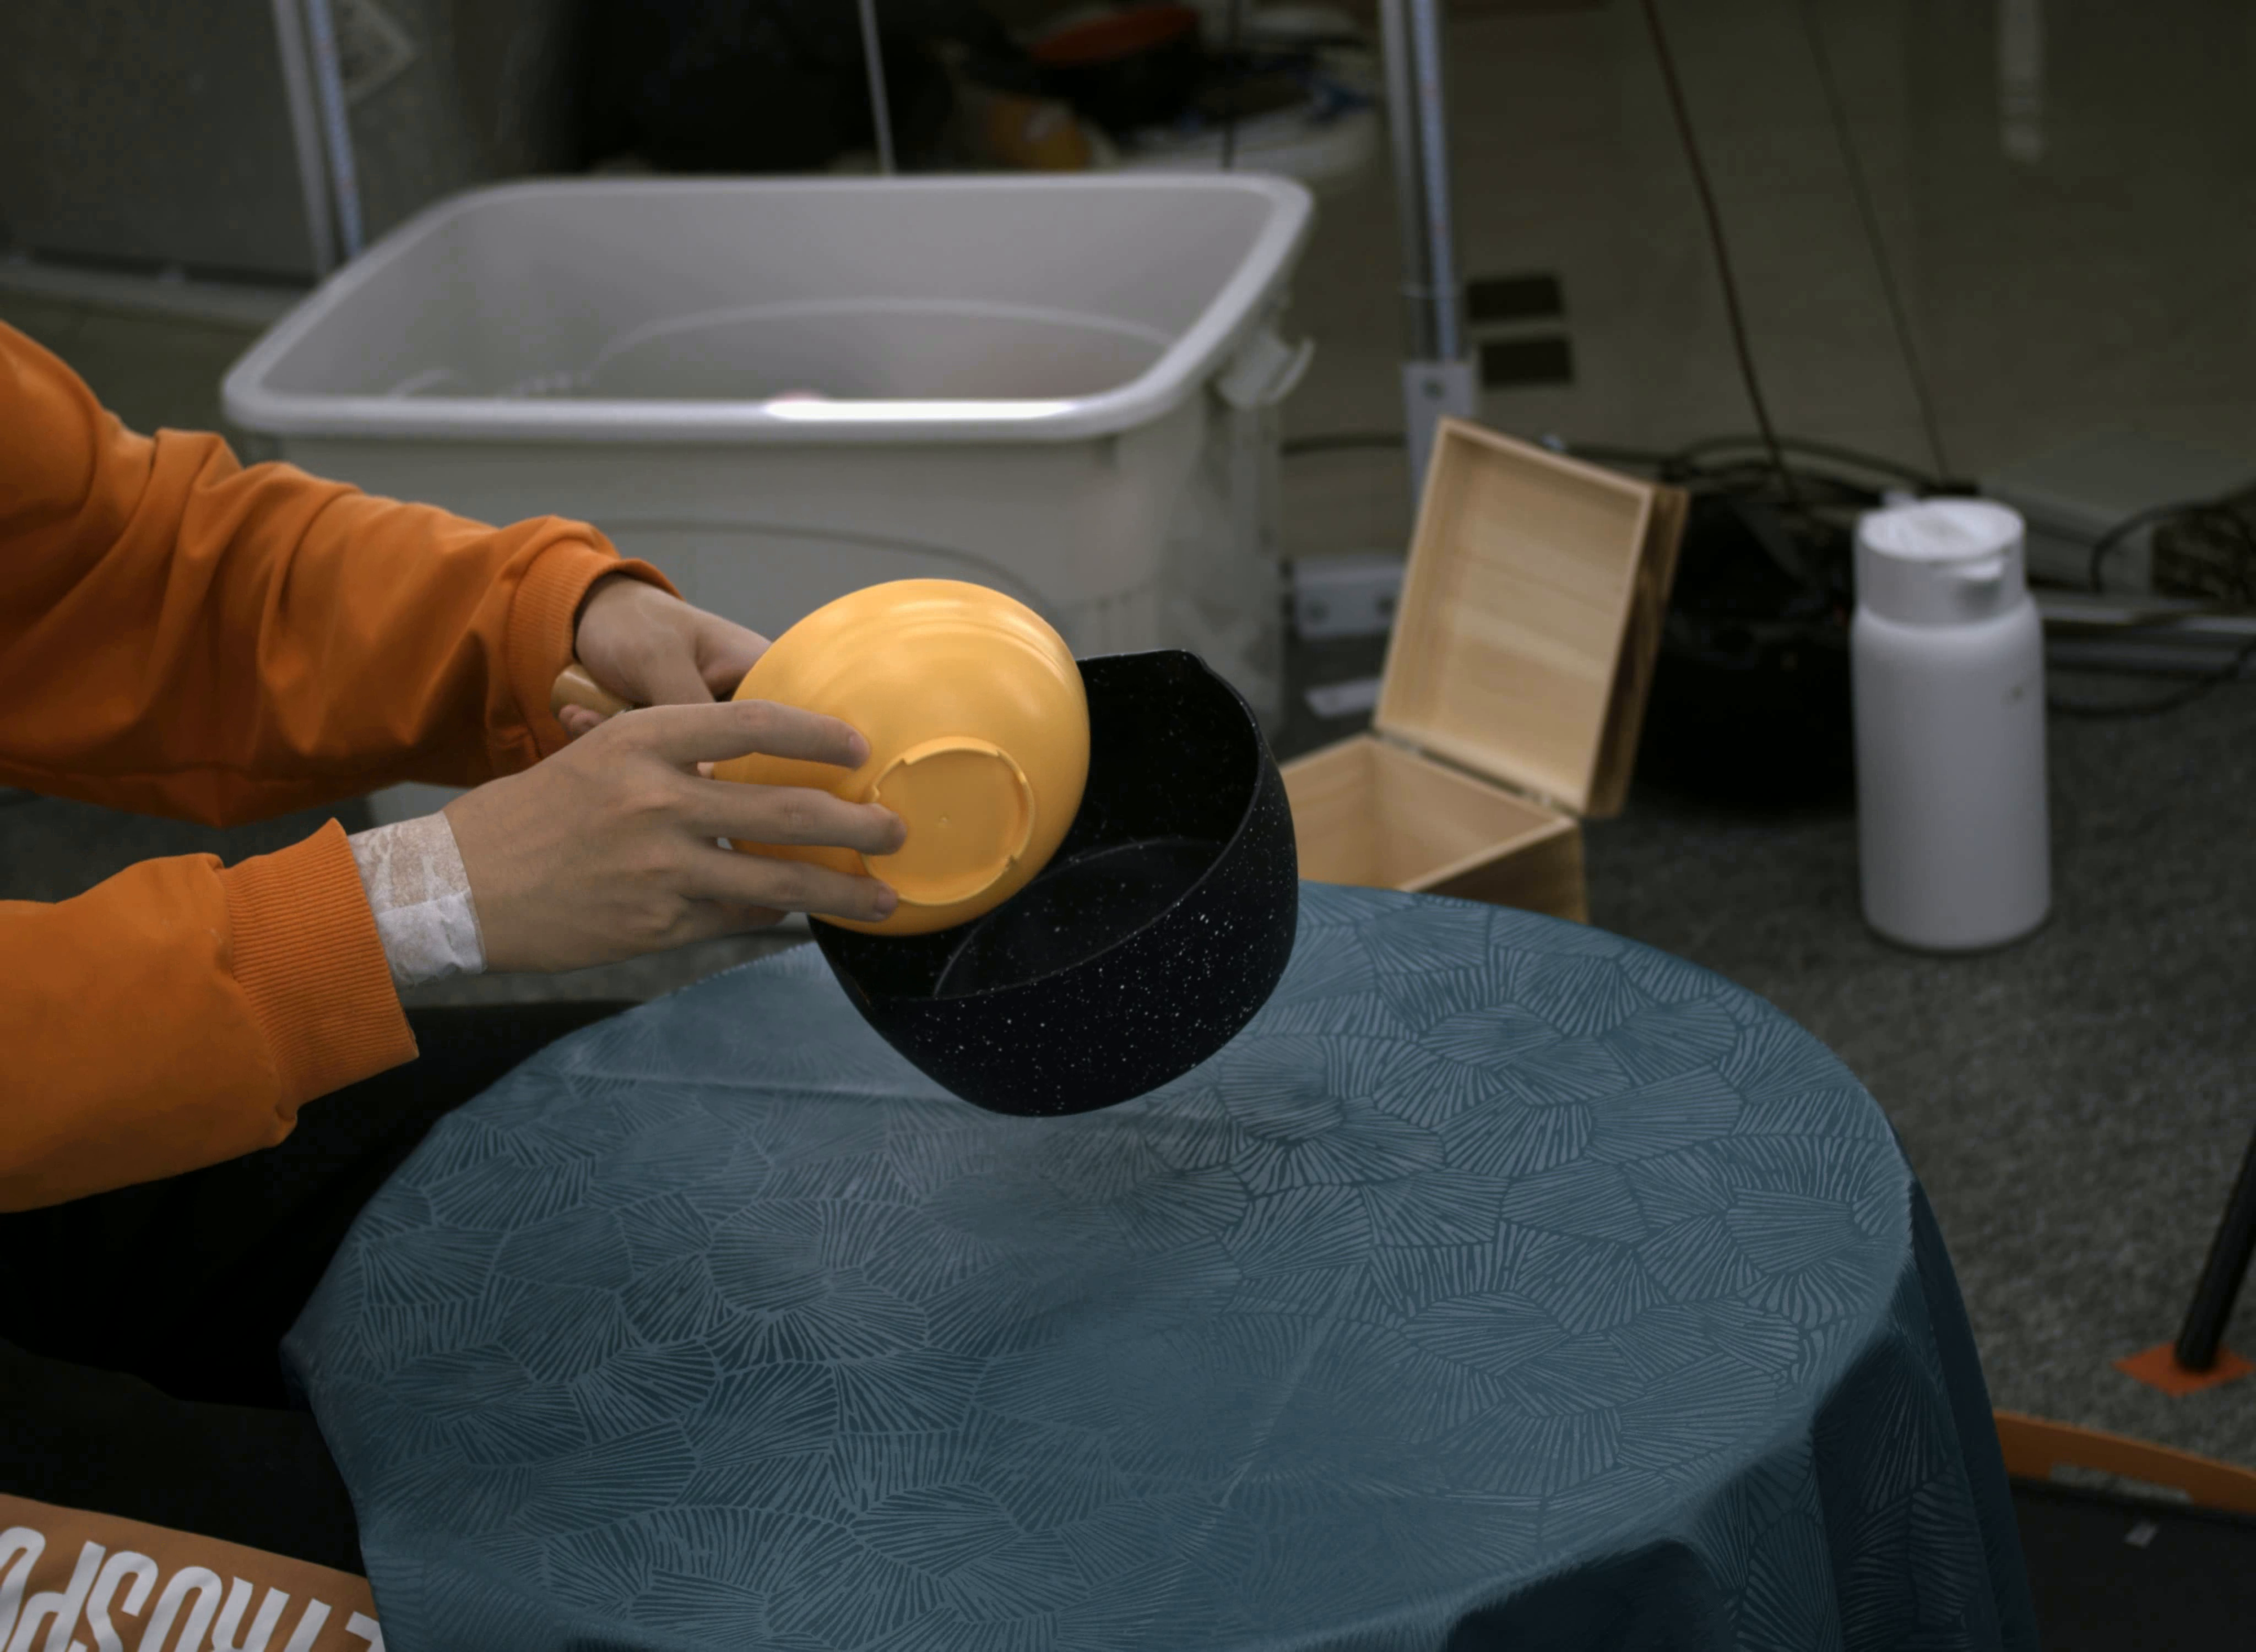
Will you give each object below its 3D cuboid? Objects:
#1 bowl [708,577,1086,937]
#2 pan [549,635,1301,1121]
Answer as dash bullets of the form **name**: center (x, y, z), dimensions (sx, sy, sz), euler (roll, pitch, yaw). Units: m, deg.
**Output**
- **bowl**: center (-0.076, -0.014, 2.061), dimensions (0.145, 0.148, 0.059), euler (-13, 34, -14)
- **pan**: center (-0.085, 0.007, 2.168), dimensions (0.341, 0.110, 0.205), euler (13, 53, 39)
